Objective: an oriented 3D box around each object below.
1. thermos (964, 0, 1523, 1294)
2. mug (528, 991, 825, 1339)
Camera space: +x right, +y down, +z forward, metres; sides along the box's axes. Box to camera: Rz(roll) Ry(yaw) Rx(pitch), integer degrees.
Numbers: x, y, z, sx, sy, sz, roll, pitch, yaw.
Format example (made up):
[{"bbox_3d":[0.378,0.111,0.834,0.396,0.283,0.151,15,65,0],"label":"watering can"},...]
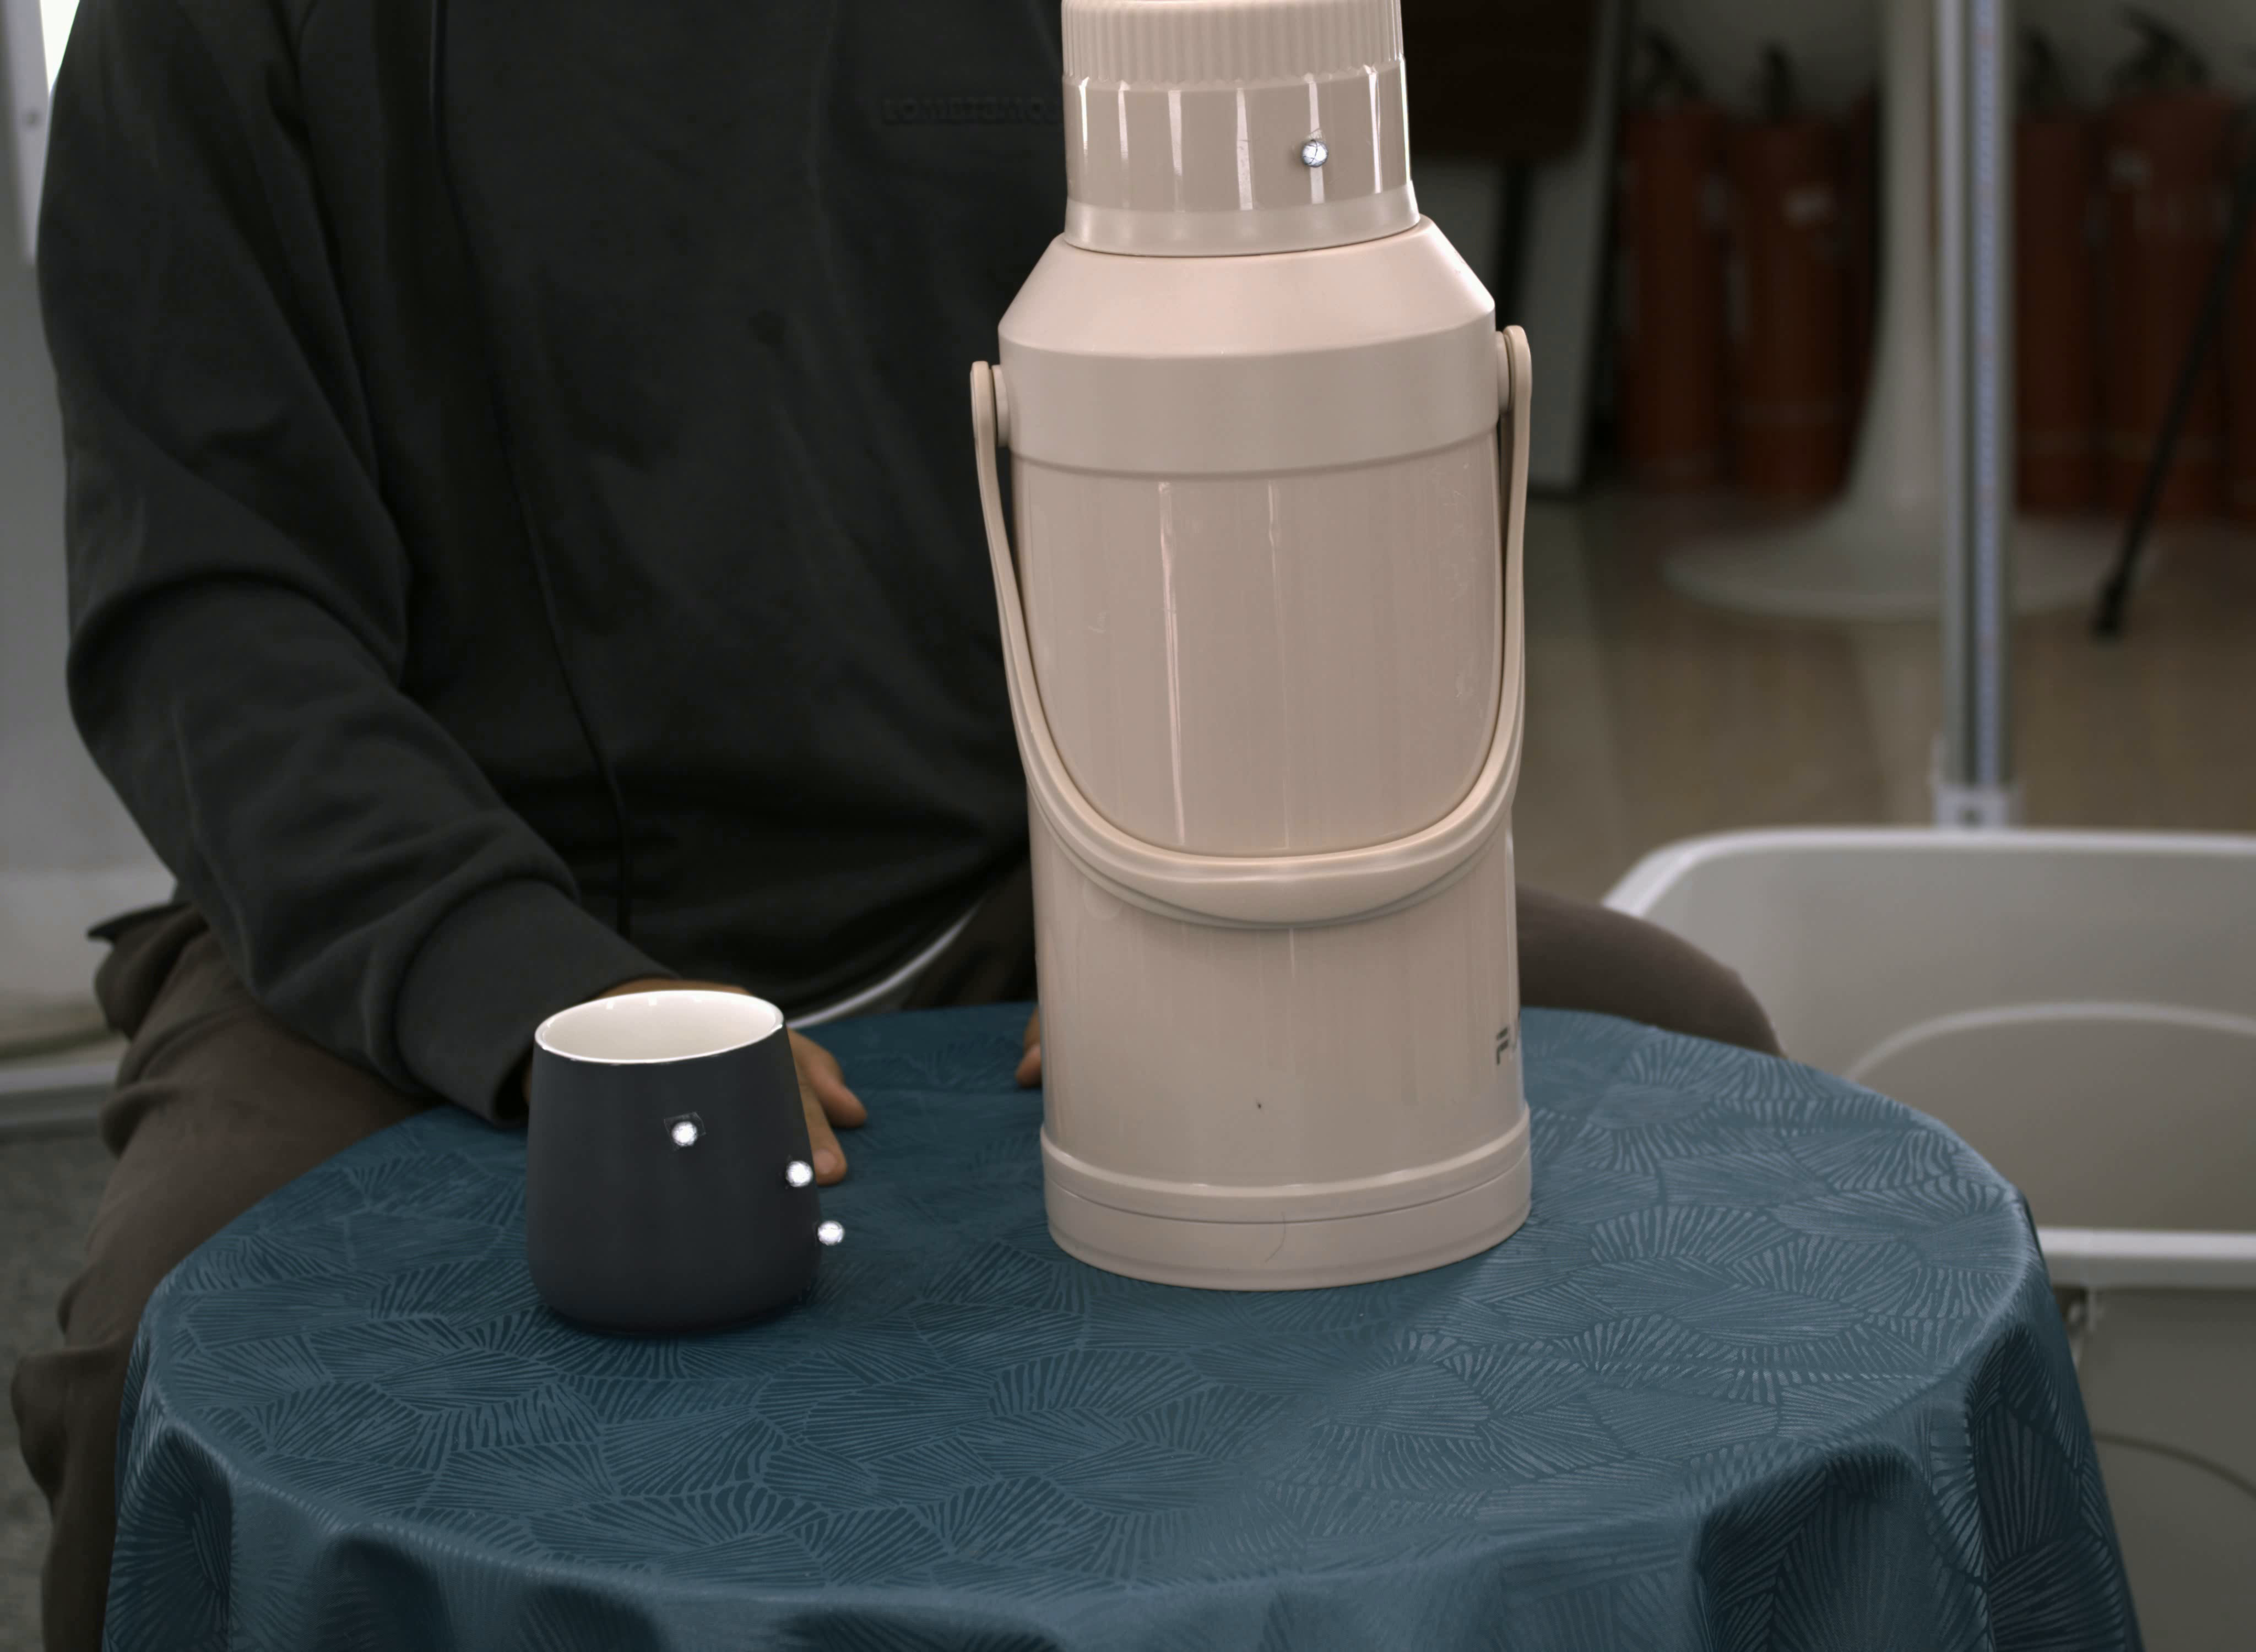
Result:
[{"bbox_3d":[0.039,-0.072,1.710,0.173,0.411,0.208,-5,14,-4],"label":"thermos"},{"bbox_3d":[-0.145,0.102,1.700,0.092,0.091,0.124,-6,14,-11],"label":"mug"}]
